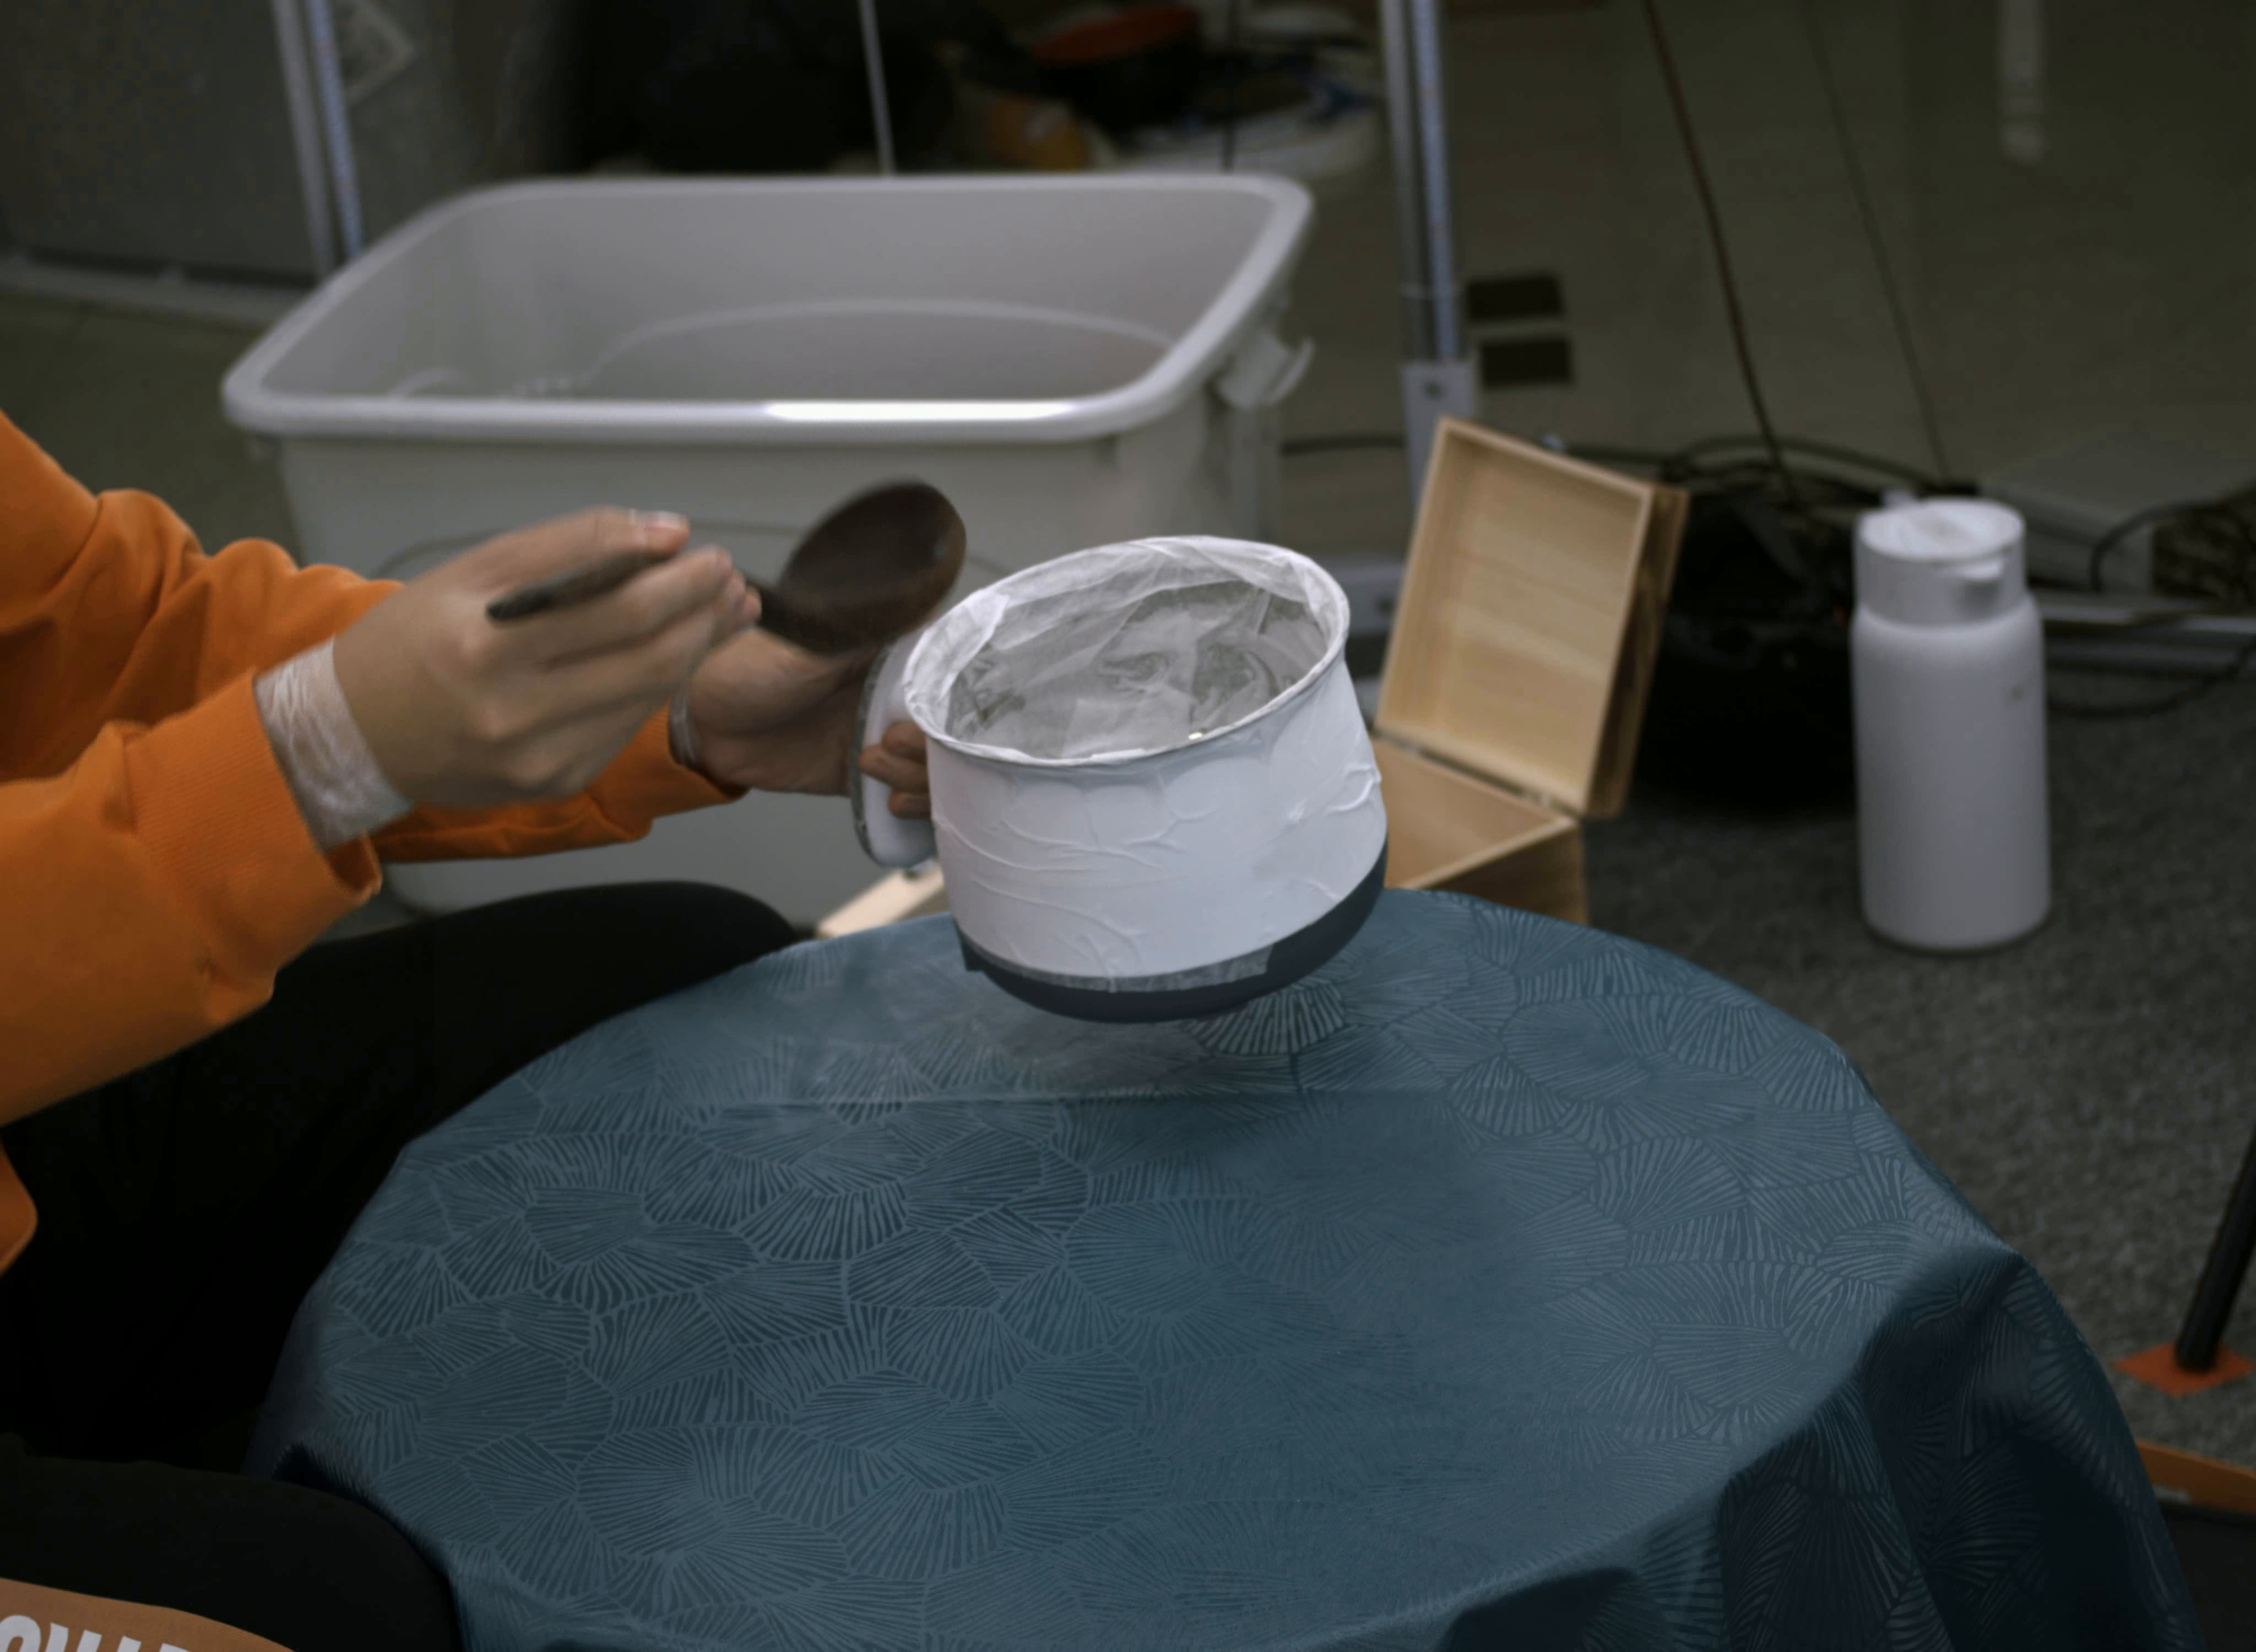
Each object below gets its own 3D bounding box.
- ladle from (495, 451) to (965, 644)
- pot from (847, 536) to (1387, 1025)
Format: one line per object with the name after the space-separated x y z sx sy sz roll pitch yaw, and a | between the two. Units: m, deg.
-0.137 -0.101 1.886 0.076 0.071 0.274 -19 -10 24 | ladle
-0.015 -0.019 2.229 0.232 0.139 0.176 8 35 30 | pot
